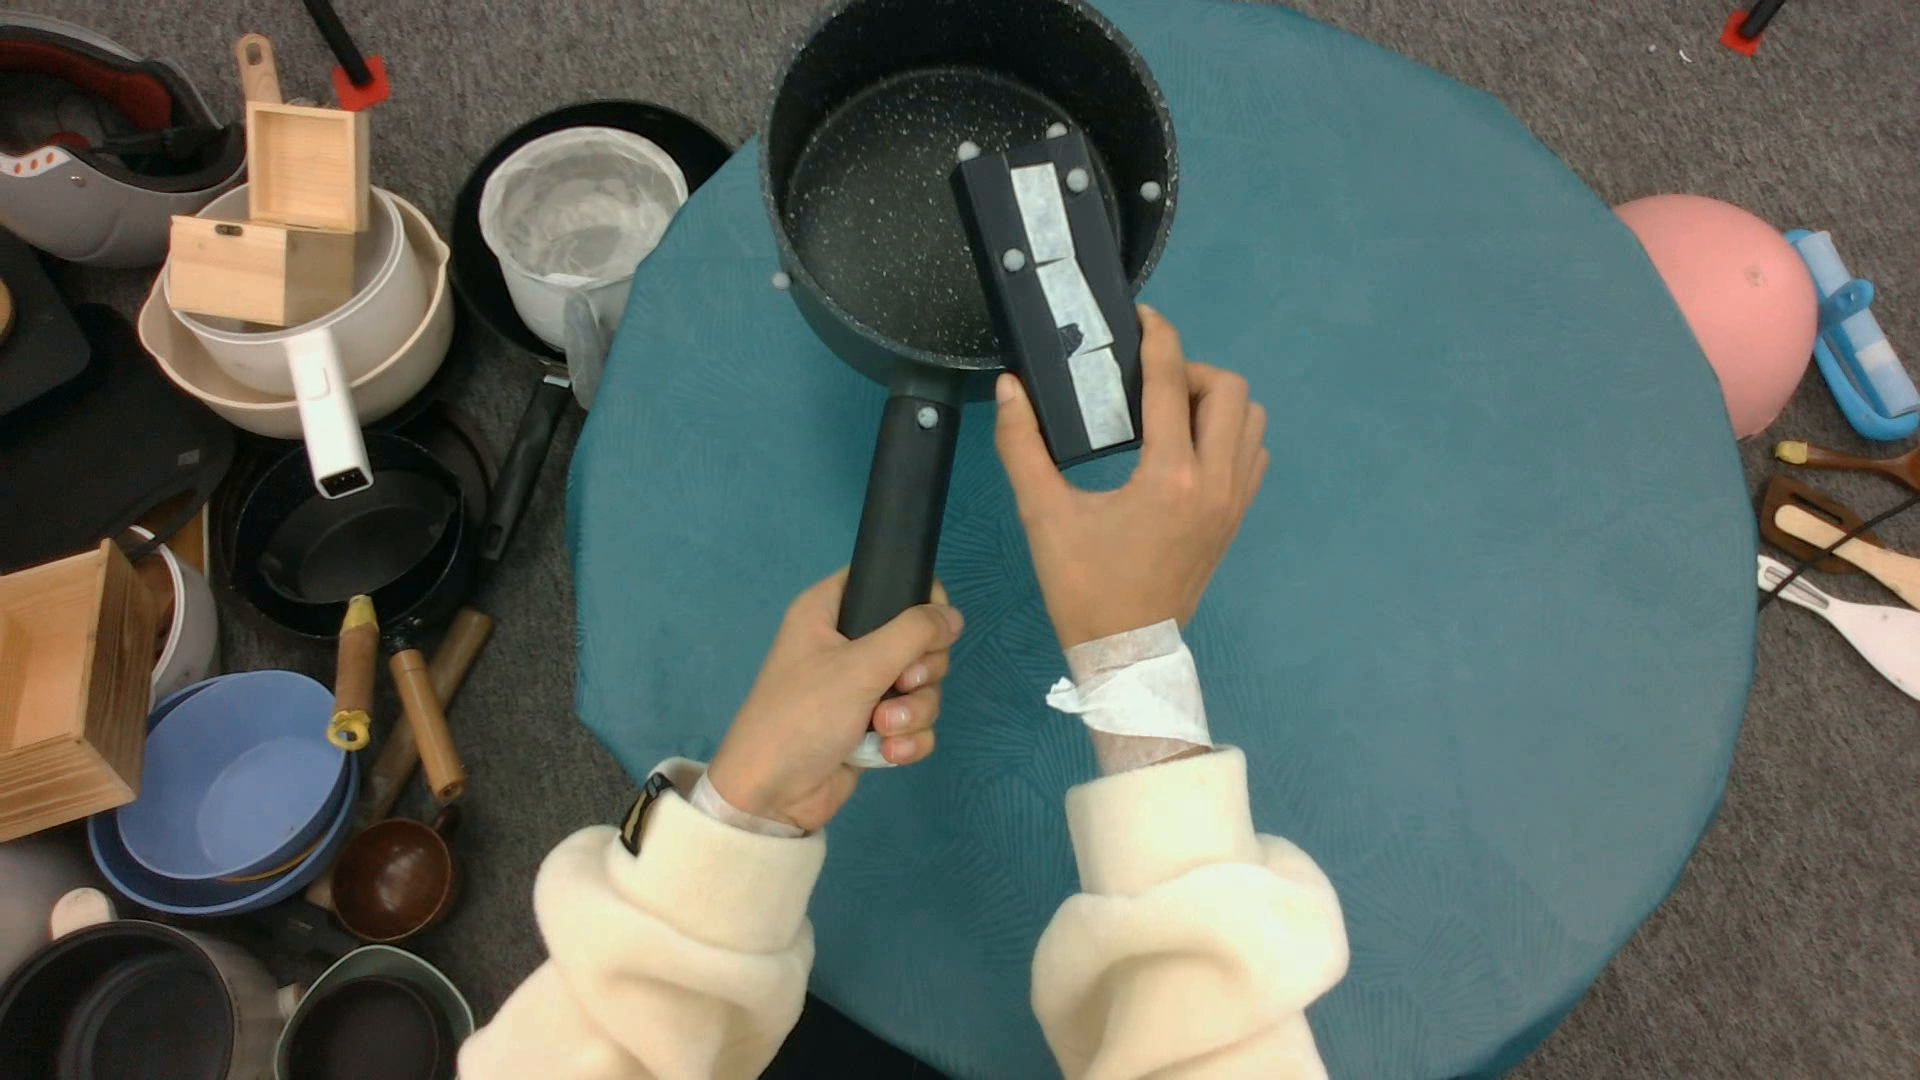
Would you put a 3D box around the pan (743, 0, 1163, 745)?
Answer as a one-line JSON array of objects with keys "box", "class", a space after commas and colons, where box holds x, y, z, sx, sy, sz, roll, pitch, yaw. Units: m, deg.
[{"box": [-0.022, -0.075, 0.575, 0.172, 0.086, 0.329, 14, 77, -4], "class": "pan"}]

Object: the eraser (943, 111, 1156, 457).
[{"box": [0.033, -0.098, 0.536, 0.053, 0.030, 0.125, -16, 92, -9], "class": "eraser"}]
